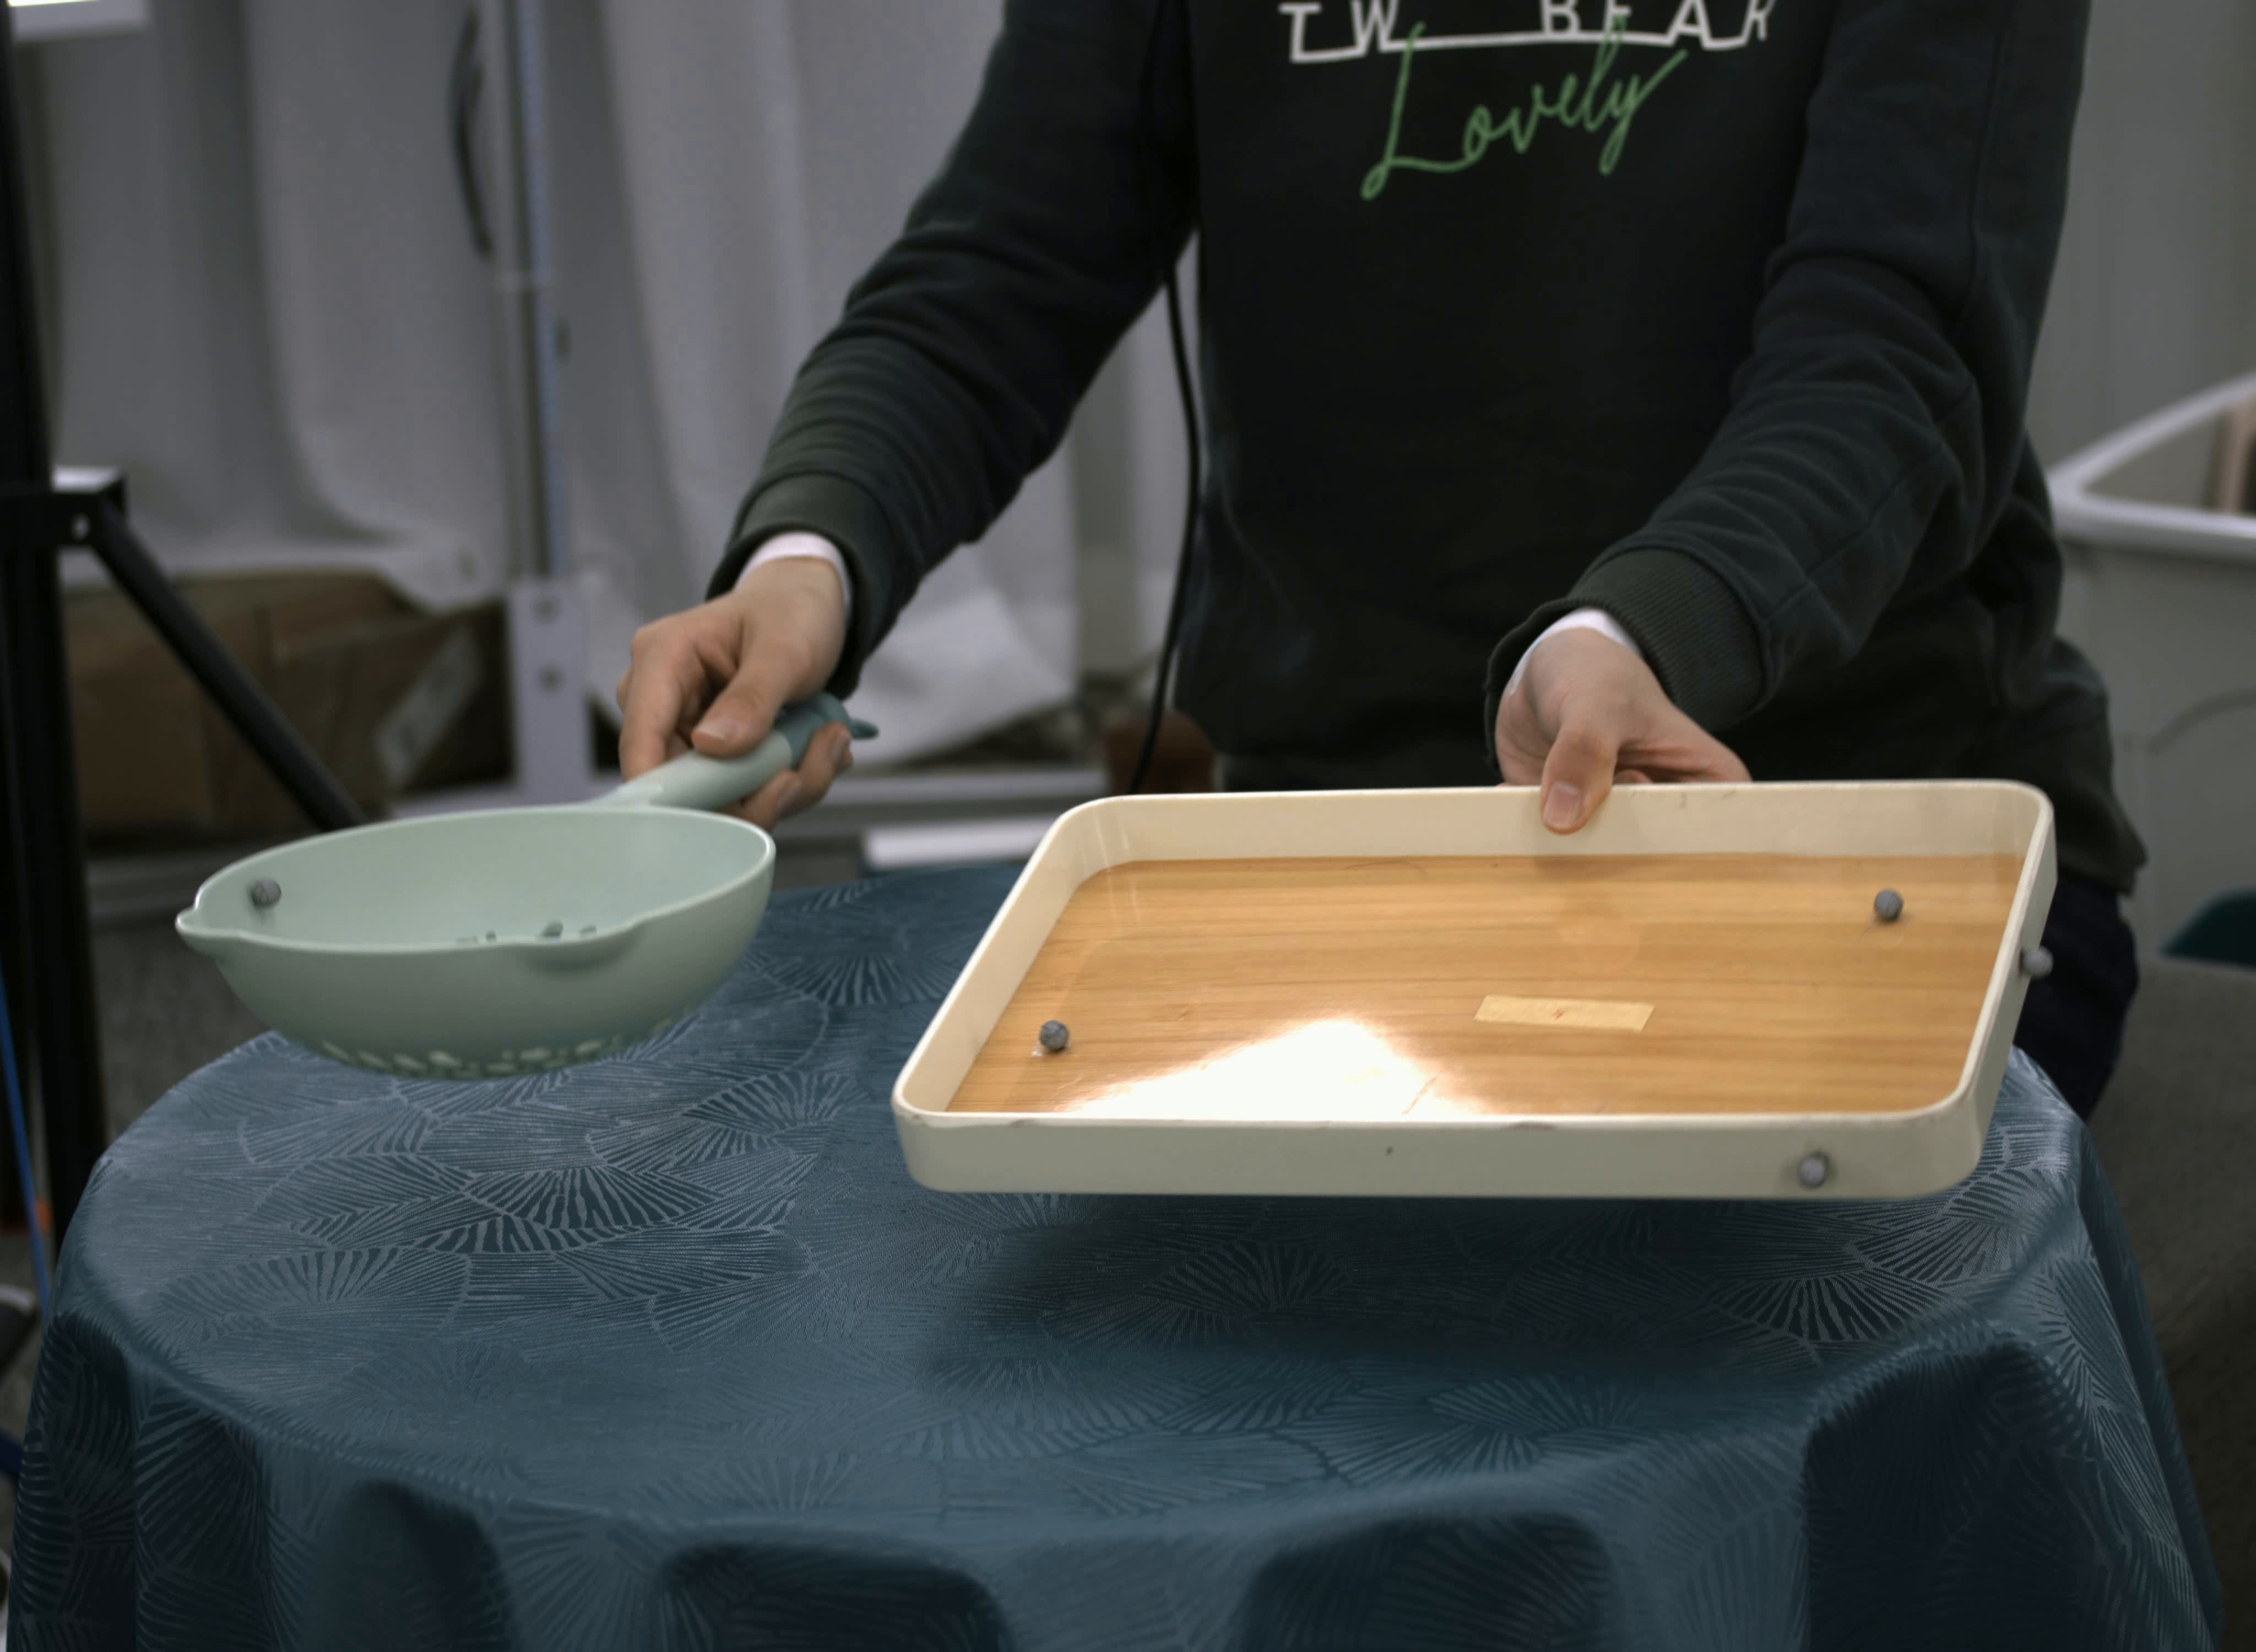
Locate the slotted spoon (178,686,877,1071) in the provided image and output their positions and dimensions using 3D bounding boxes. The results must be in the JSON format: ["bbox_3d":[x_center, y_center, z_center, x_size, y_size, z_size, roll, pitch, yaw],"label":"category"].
[{"bbox_3d":[-0.153,0.001,1.642,0.171,0.075,0.355,1,22,20],"label":"slotted spoon"}]

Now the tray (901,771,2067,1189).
[{"bbox_3d":[0.102,0.043,1.477,0.304,0.027,0.190,-1,27,21],"label":"tray"}]
